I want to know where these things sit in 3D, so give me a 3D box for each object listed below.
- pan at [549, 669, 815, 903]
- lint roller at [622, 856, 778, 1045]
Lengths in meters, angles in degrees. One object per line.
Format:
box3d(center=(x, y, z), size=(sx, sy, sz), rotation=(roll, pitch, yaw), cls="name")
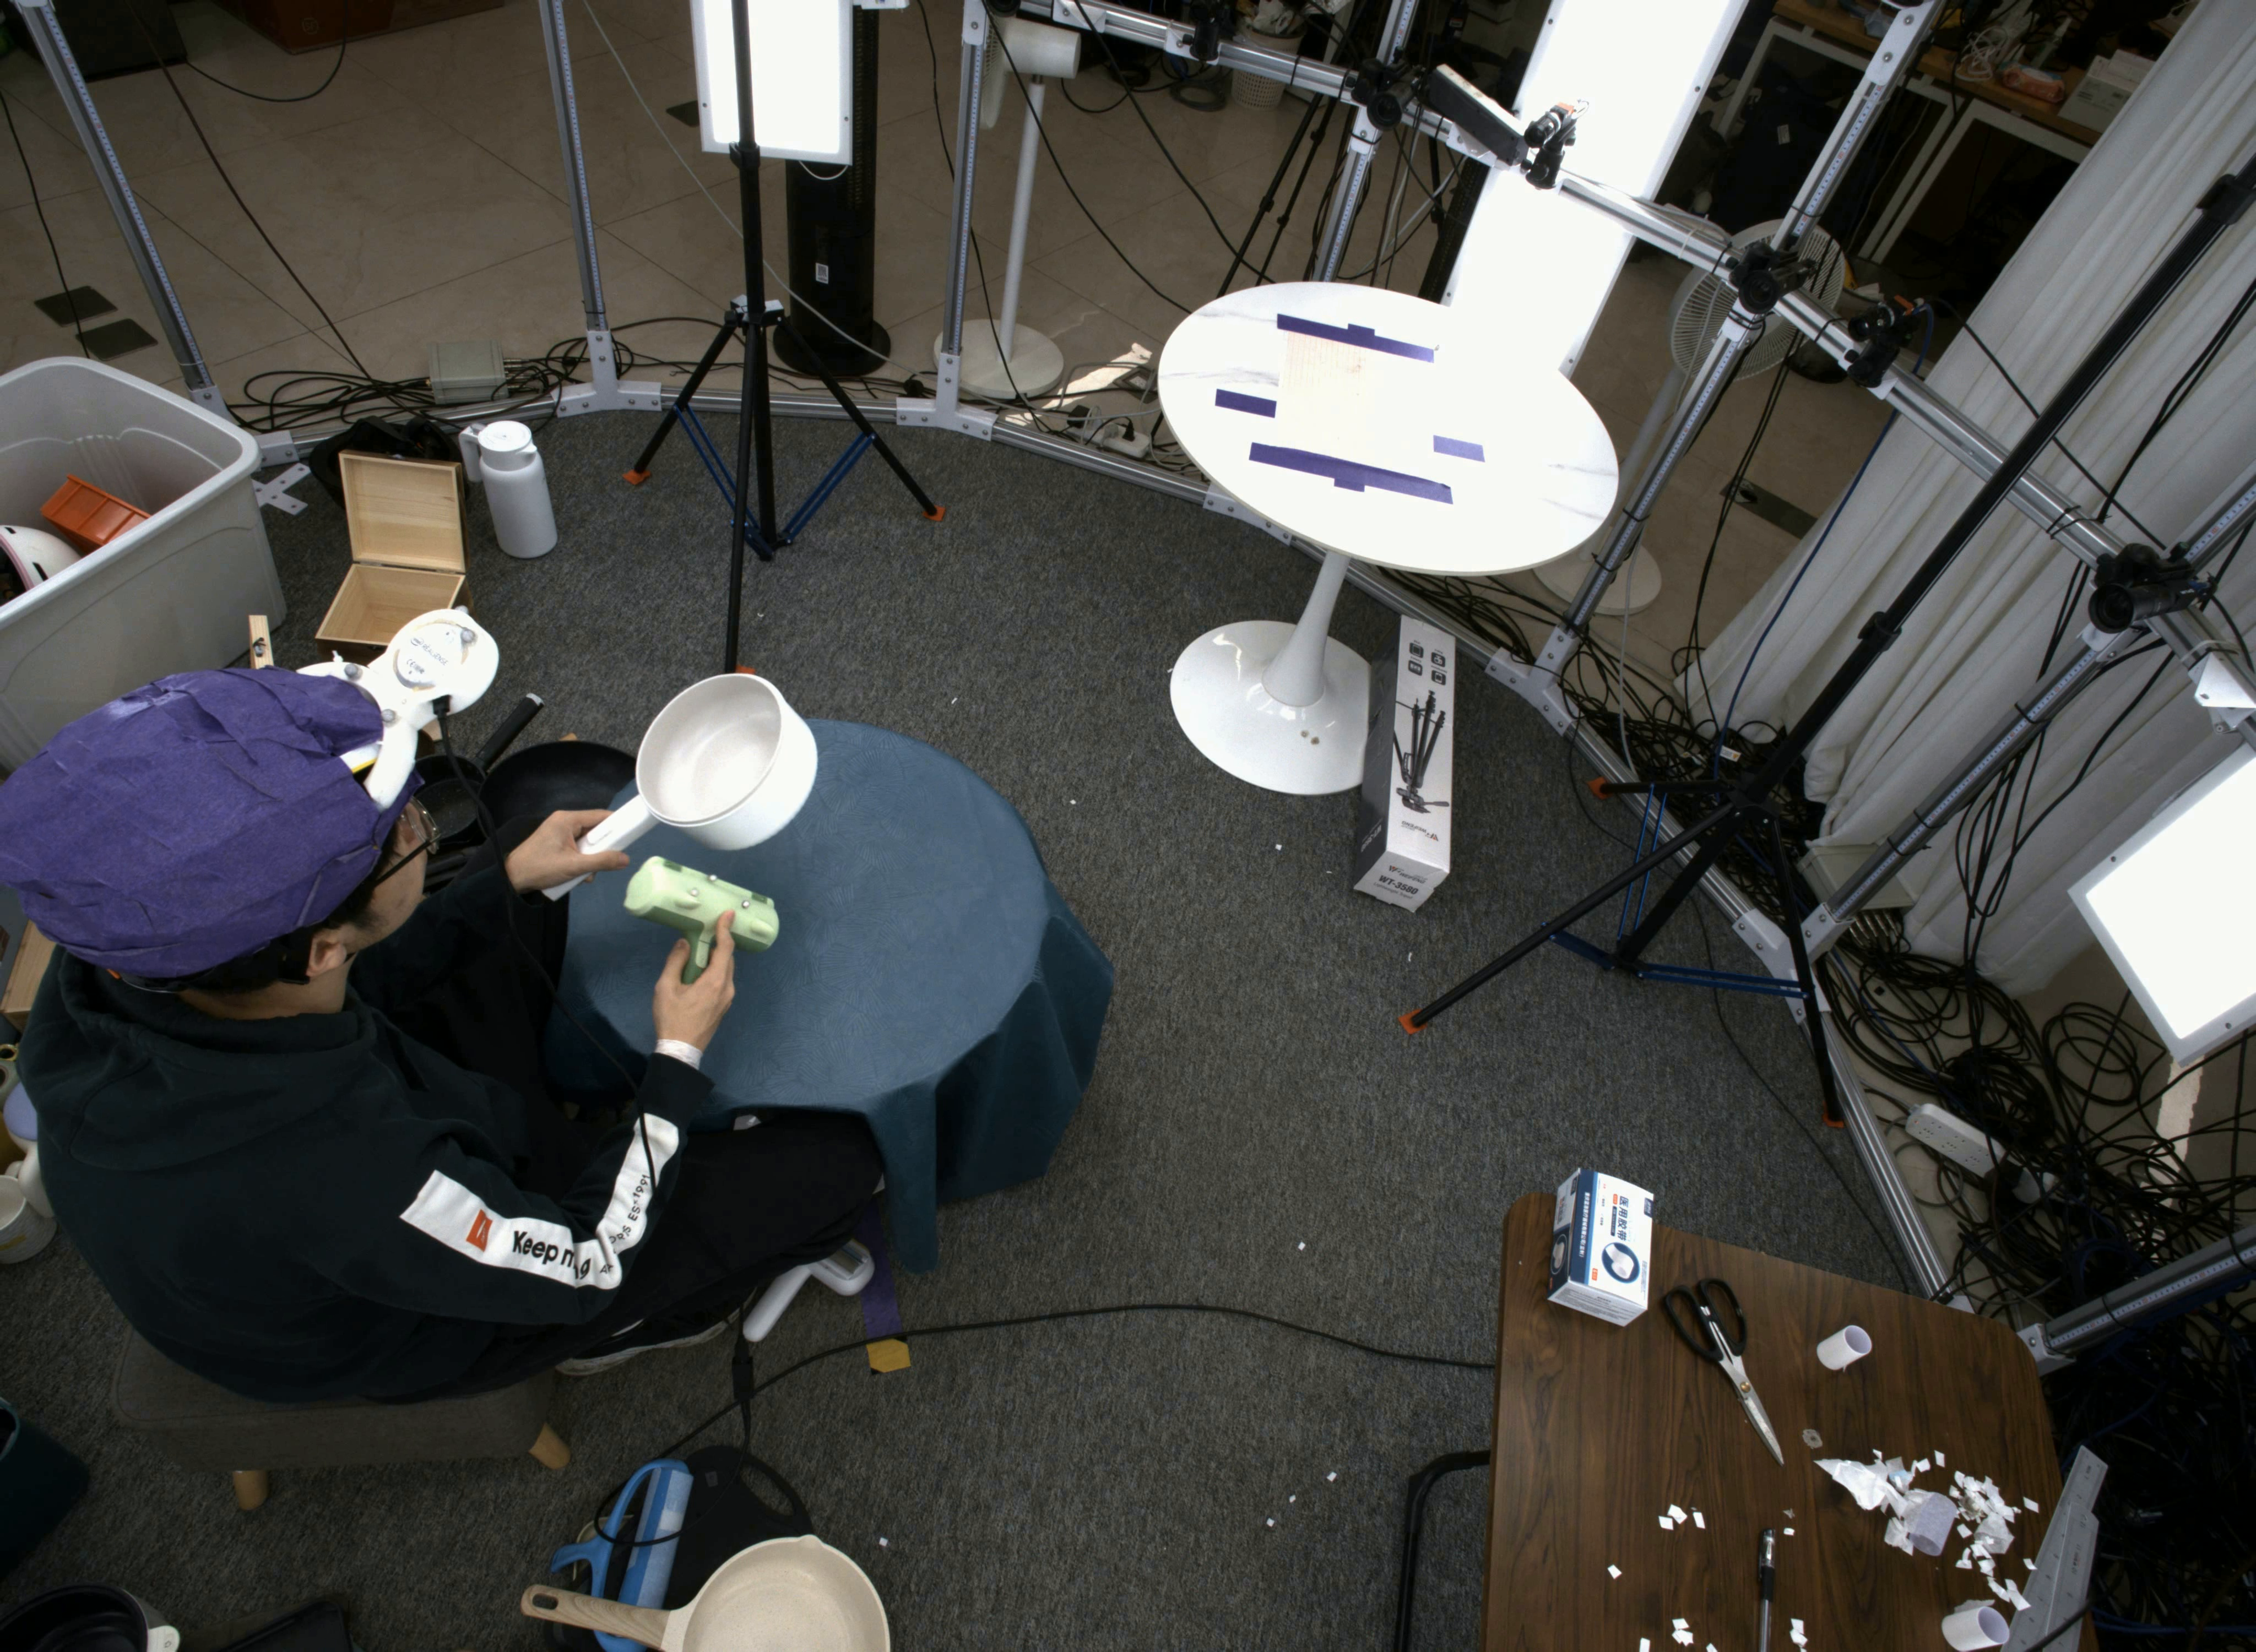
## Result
box3d(center=(-0.526, -0.024, 1.510), size=(0.354, 0.105, 0.195), rotation=(-39, 59, -2), cls="pan")
box3d(center=(-0.472, 0.145, 1.431), size=(0.080, 0.205, 0.182), rotation=(-12, 67, 27), cls="lint roller")
